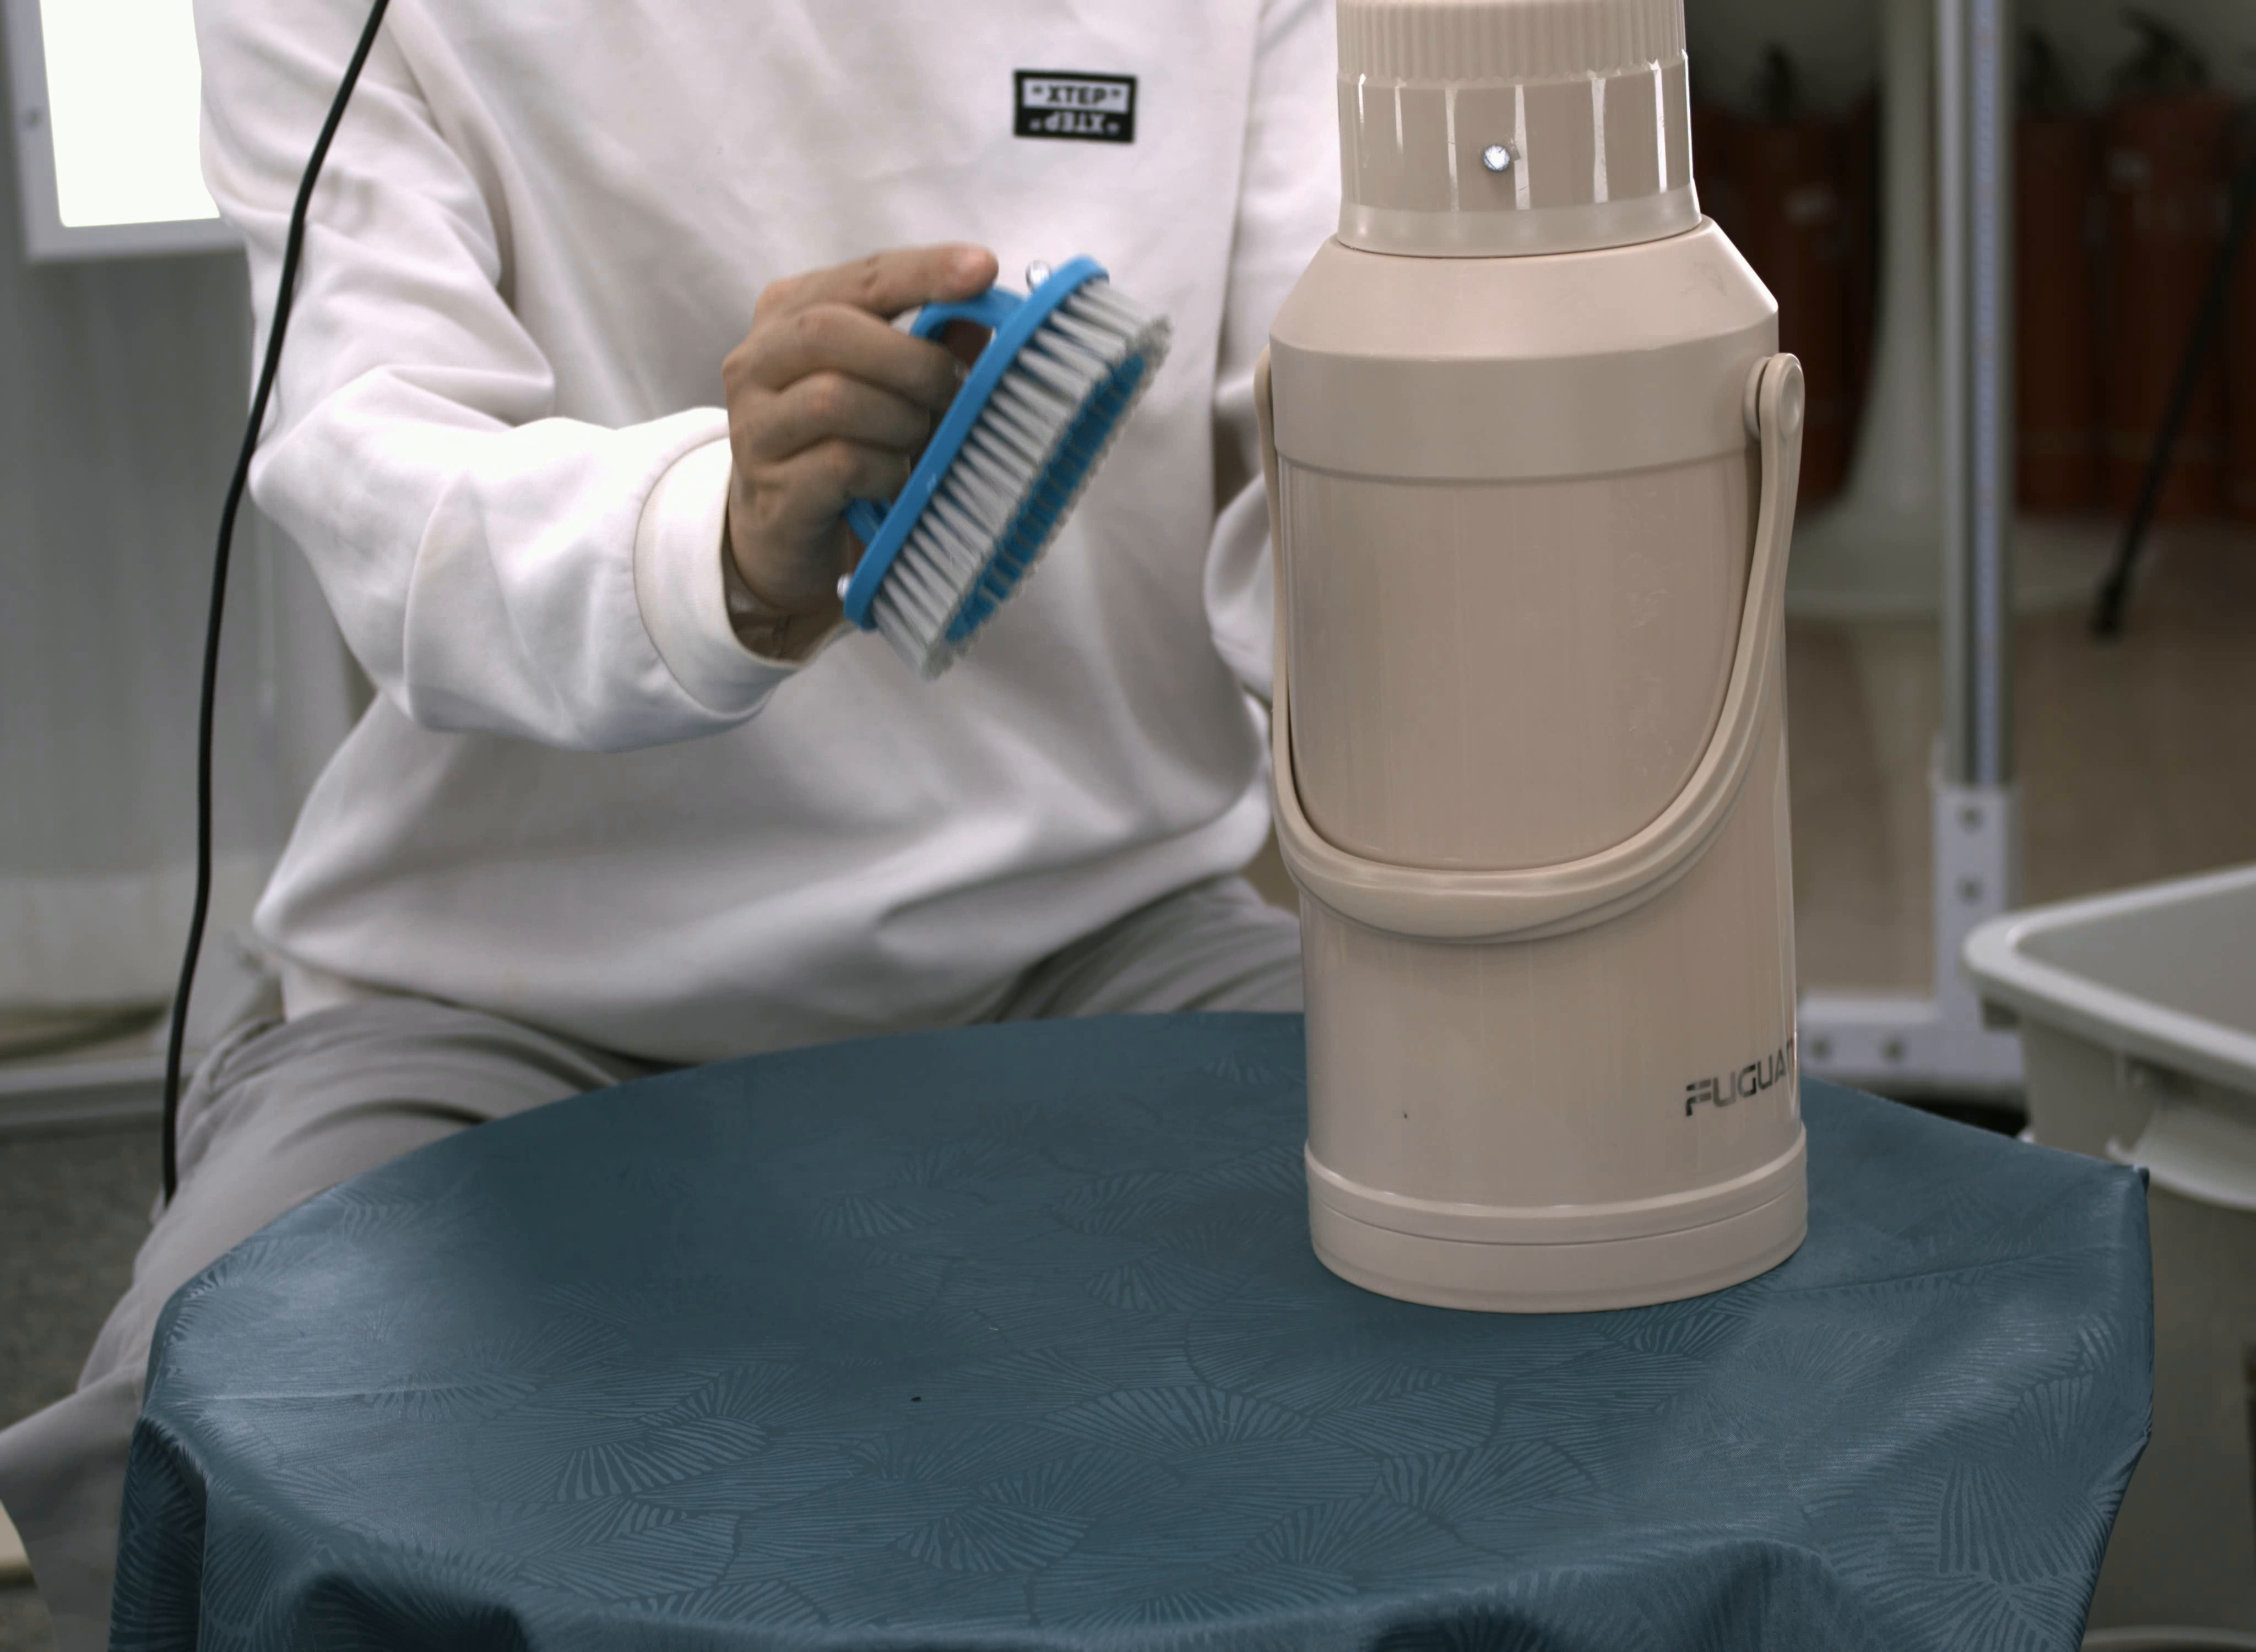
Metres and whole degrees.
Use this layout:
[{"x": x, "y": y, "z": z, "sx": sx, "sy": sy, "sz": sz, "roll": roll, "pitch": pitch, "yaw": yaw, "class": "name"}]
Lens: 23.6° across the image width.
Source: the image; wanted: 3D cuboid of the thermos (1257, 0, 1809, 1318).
[{"x": 0.133, "y": -0.067, "z": 1.669, "sx": 0.176, "sy": 0.411, "sz": 0.204, "roll": 2, "pitch": 13, "yaw": 28, "class": "thermos"}]

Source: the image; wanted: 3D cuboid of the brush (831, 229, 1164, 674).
[{"x": -0.049, "y": -0.117, "z": 1.597, "sx": 0.063, "sy": 0.143, "sz": 0.083, "roll": 34, "pitch": 30, "yaw": 6, "class": "brush"}]
